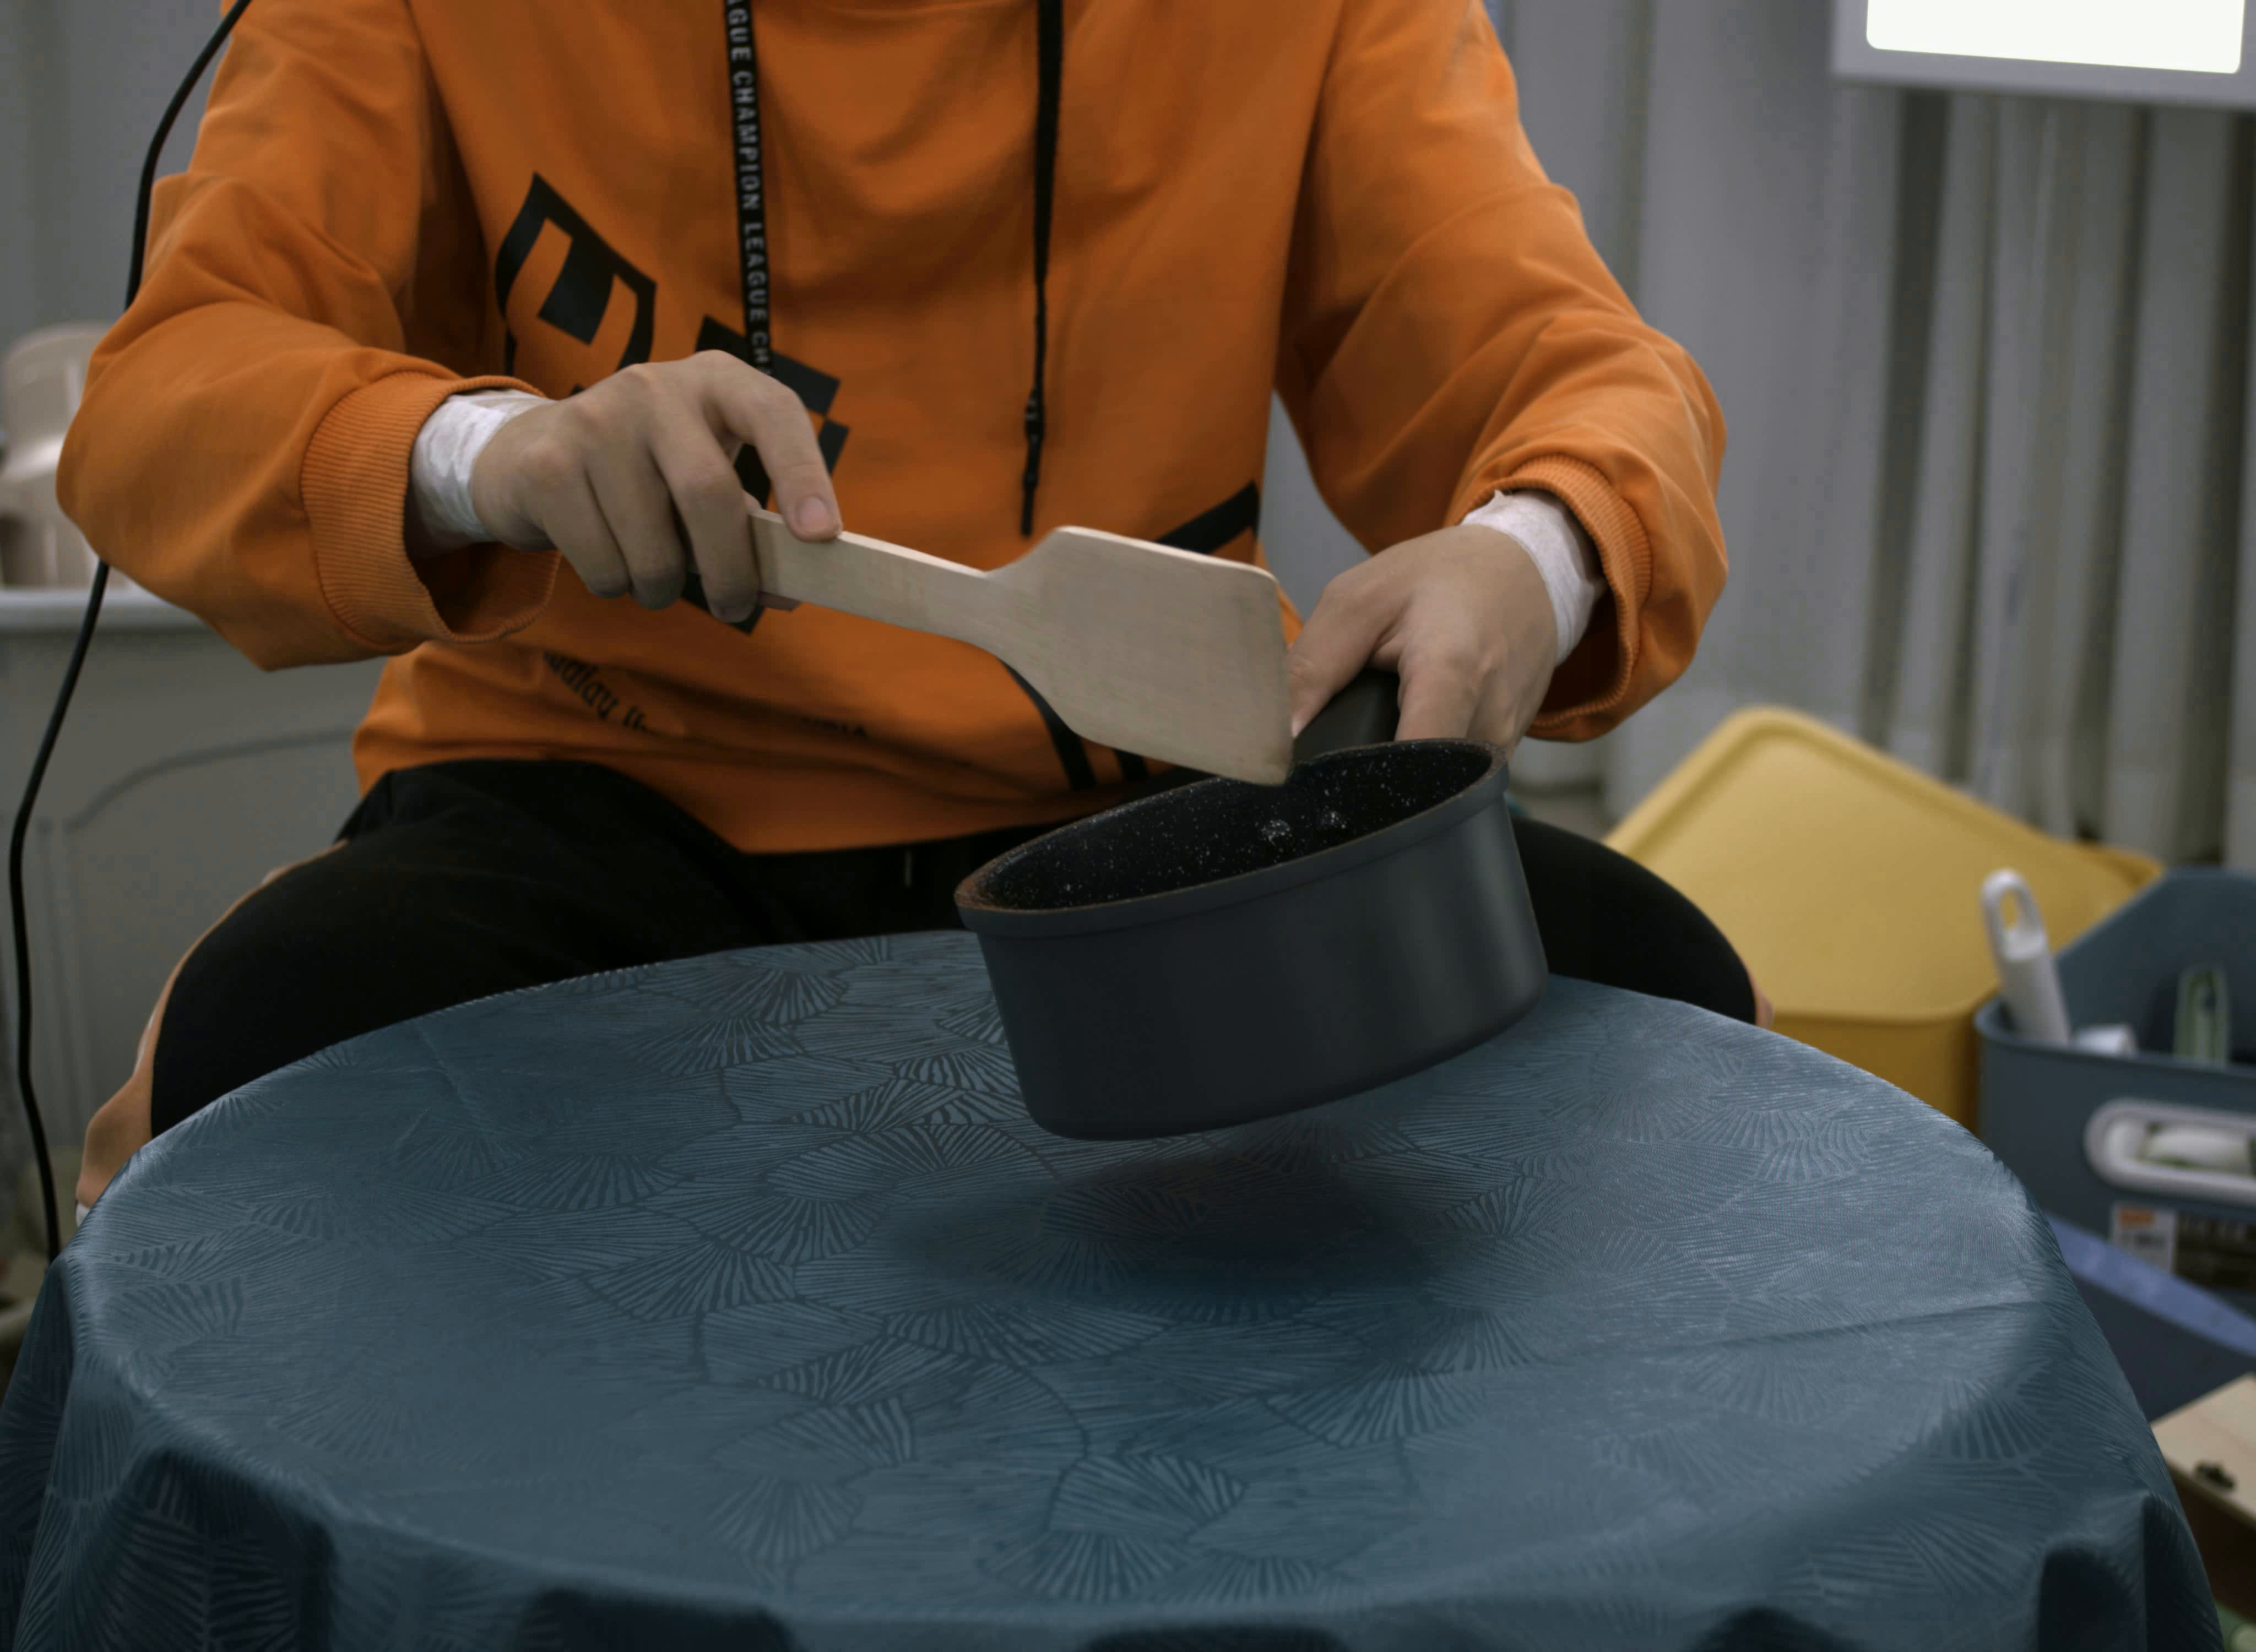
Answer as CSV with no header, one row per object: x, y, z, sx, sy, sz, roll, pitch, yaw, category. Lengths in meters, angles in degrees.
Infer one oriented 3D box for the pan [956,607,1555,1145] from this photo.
0.062,0.011,1.651,0.171,0.087,0.328,-10,12,20,pan

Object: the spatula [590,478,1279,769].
-0.068,-0.076,1.636,0.289,0.073,0.010,15,34,40,spatula
